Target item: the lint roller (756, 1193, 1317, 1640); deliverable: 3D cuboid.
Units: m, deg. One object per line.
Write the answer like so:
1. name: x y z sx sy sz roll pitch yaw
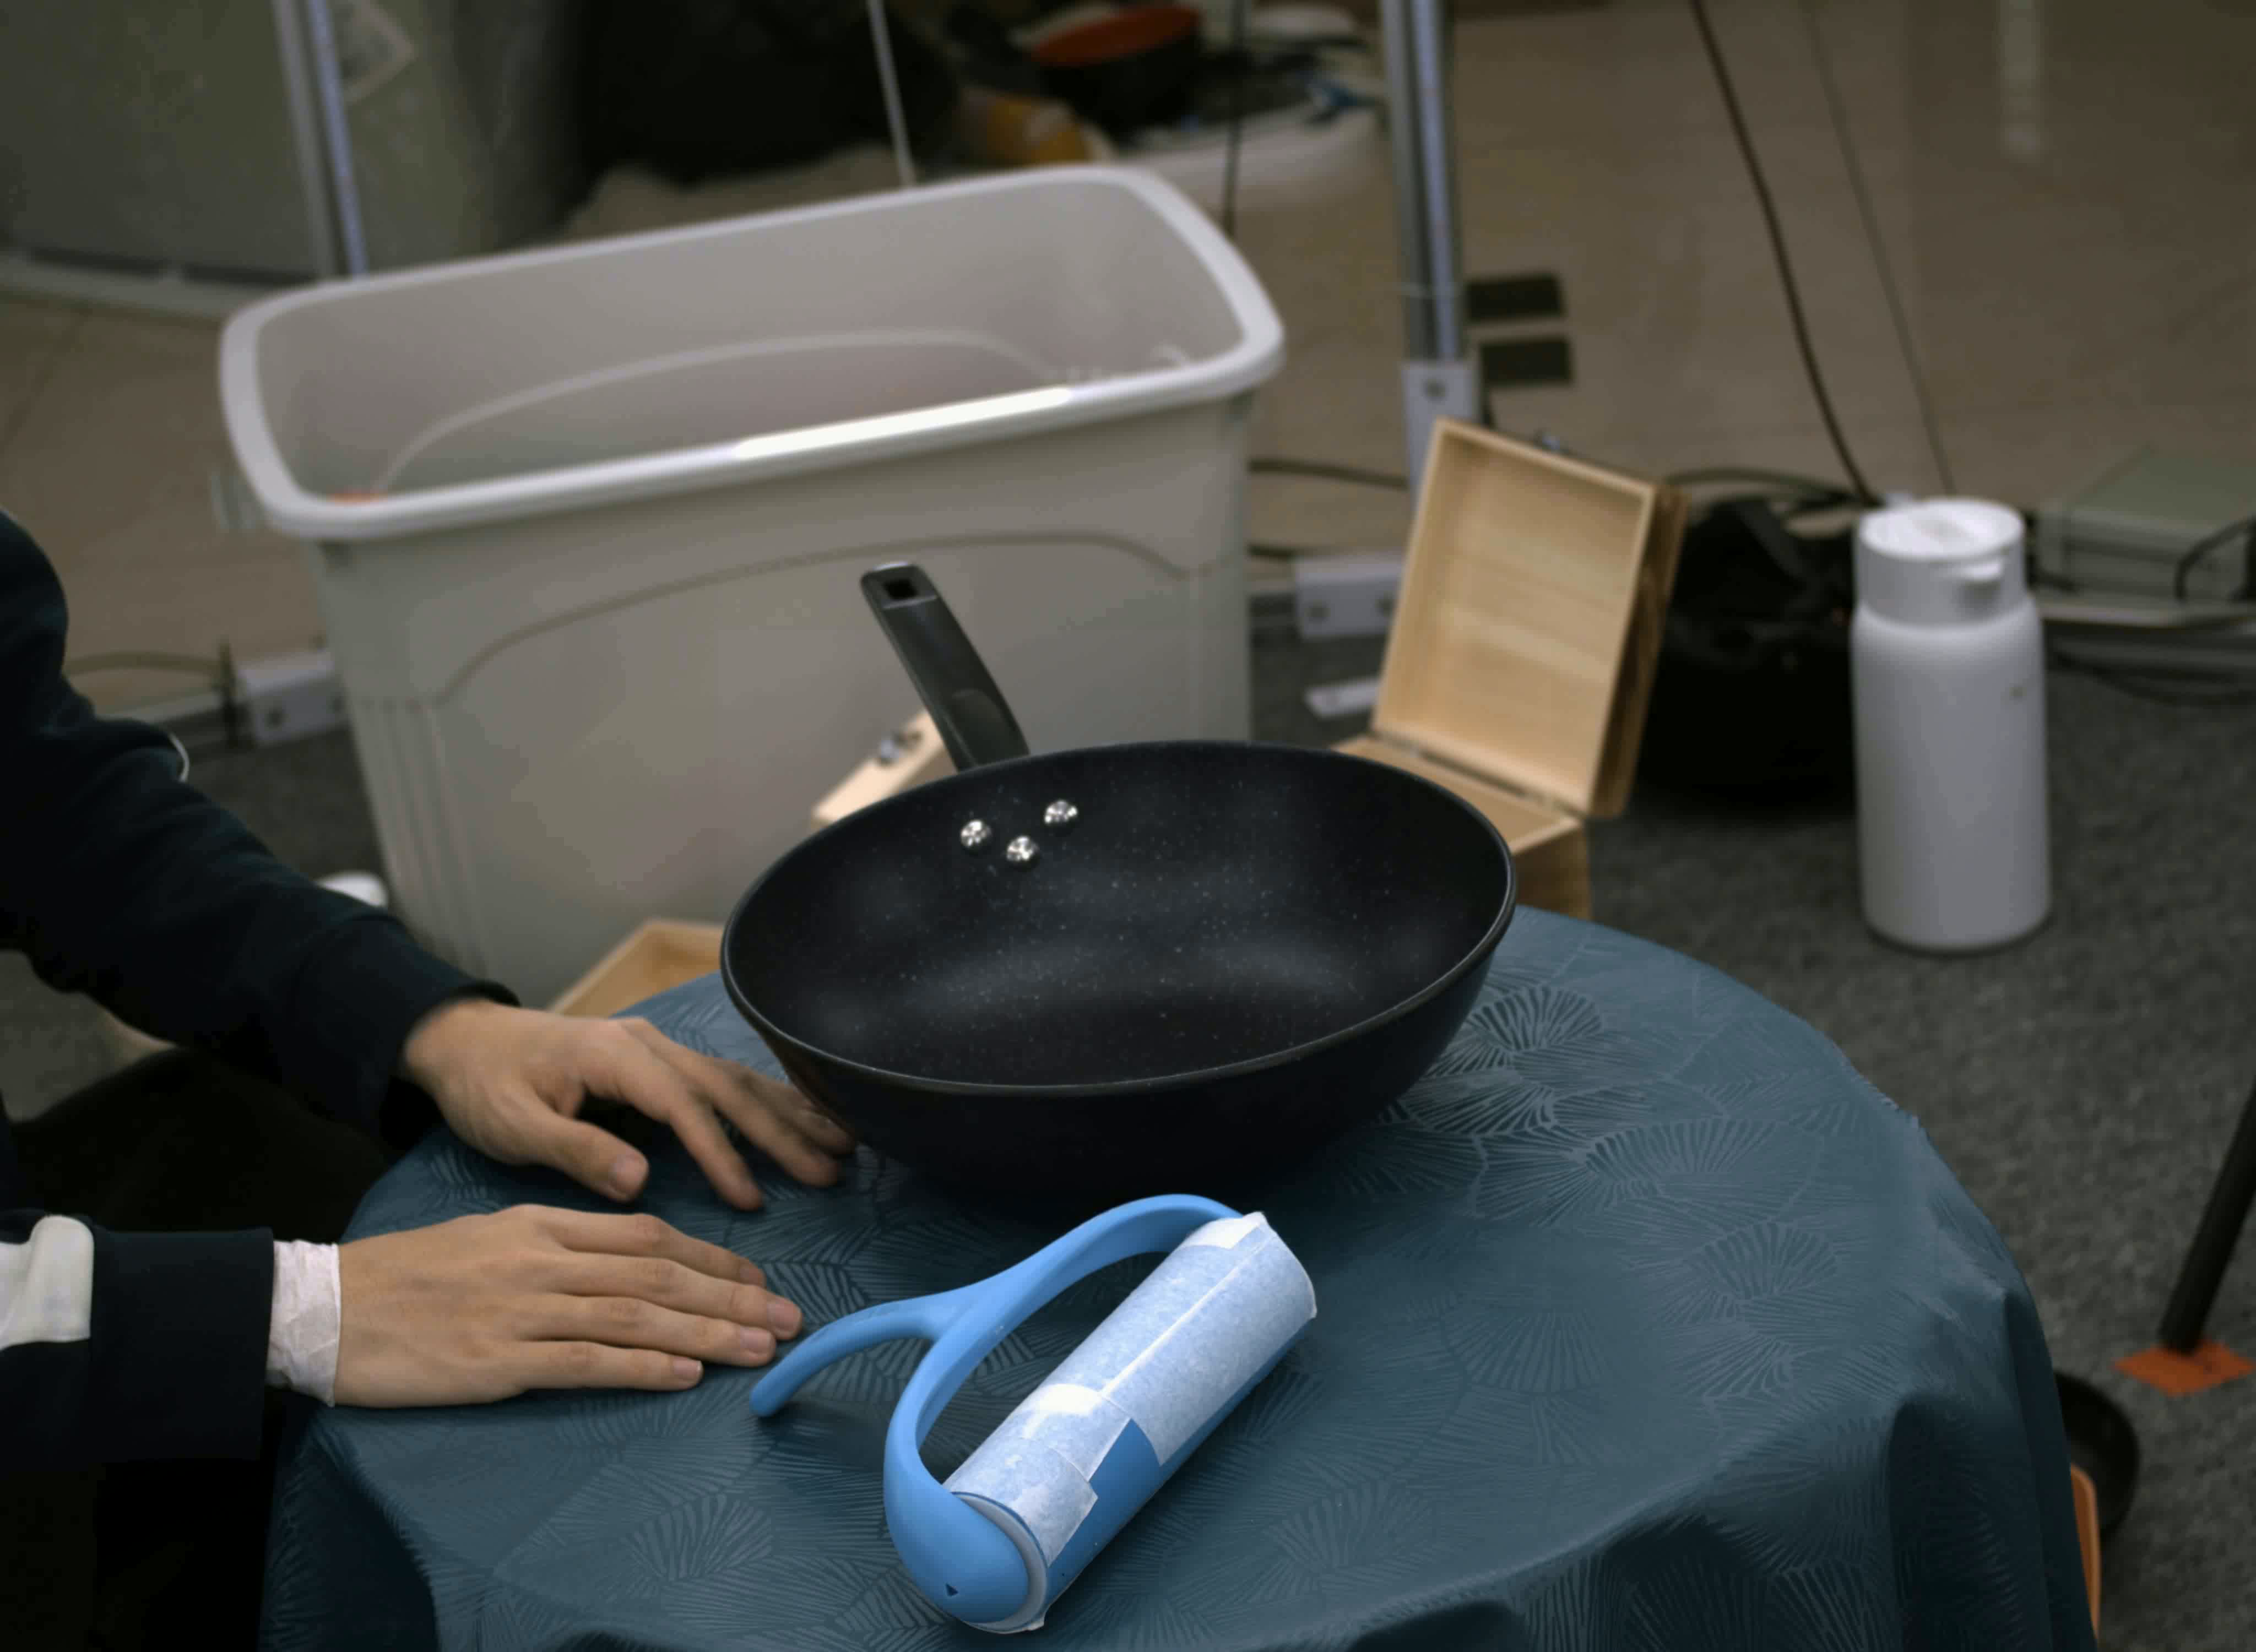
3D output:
1. lint roller: -0.054 0.195 1.970 0.179 0.069 0.226 9 32 24

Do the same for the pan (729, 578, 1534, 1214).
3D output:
1. pan: -0.023 0.030 2.255 0.309 0.113 0.470 -12 26 -15
